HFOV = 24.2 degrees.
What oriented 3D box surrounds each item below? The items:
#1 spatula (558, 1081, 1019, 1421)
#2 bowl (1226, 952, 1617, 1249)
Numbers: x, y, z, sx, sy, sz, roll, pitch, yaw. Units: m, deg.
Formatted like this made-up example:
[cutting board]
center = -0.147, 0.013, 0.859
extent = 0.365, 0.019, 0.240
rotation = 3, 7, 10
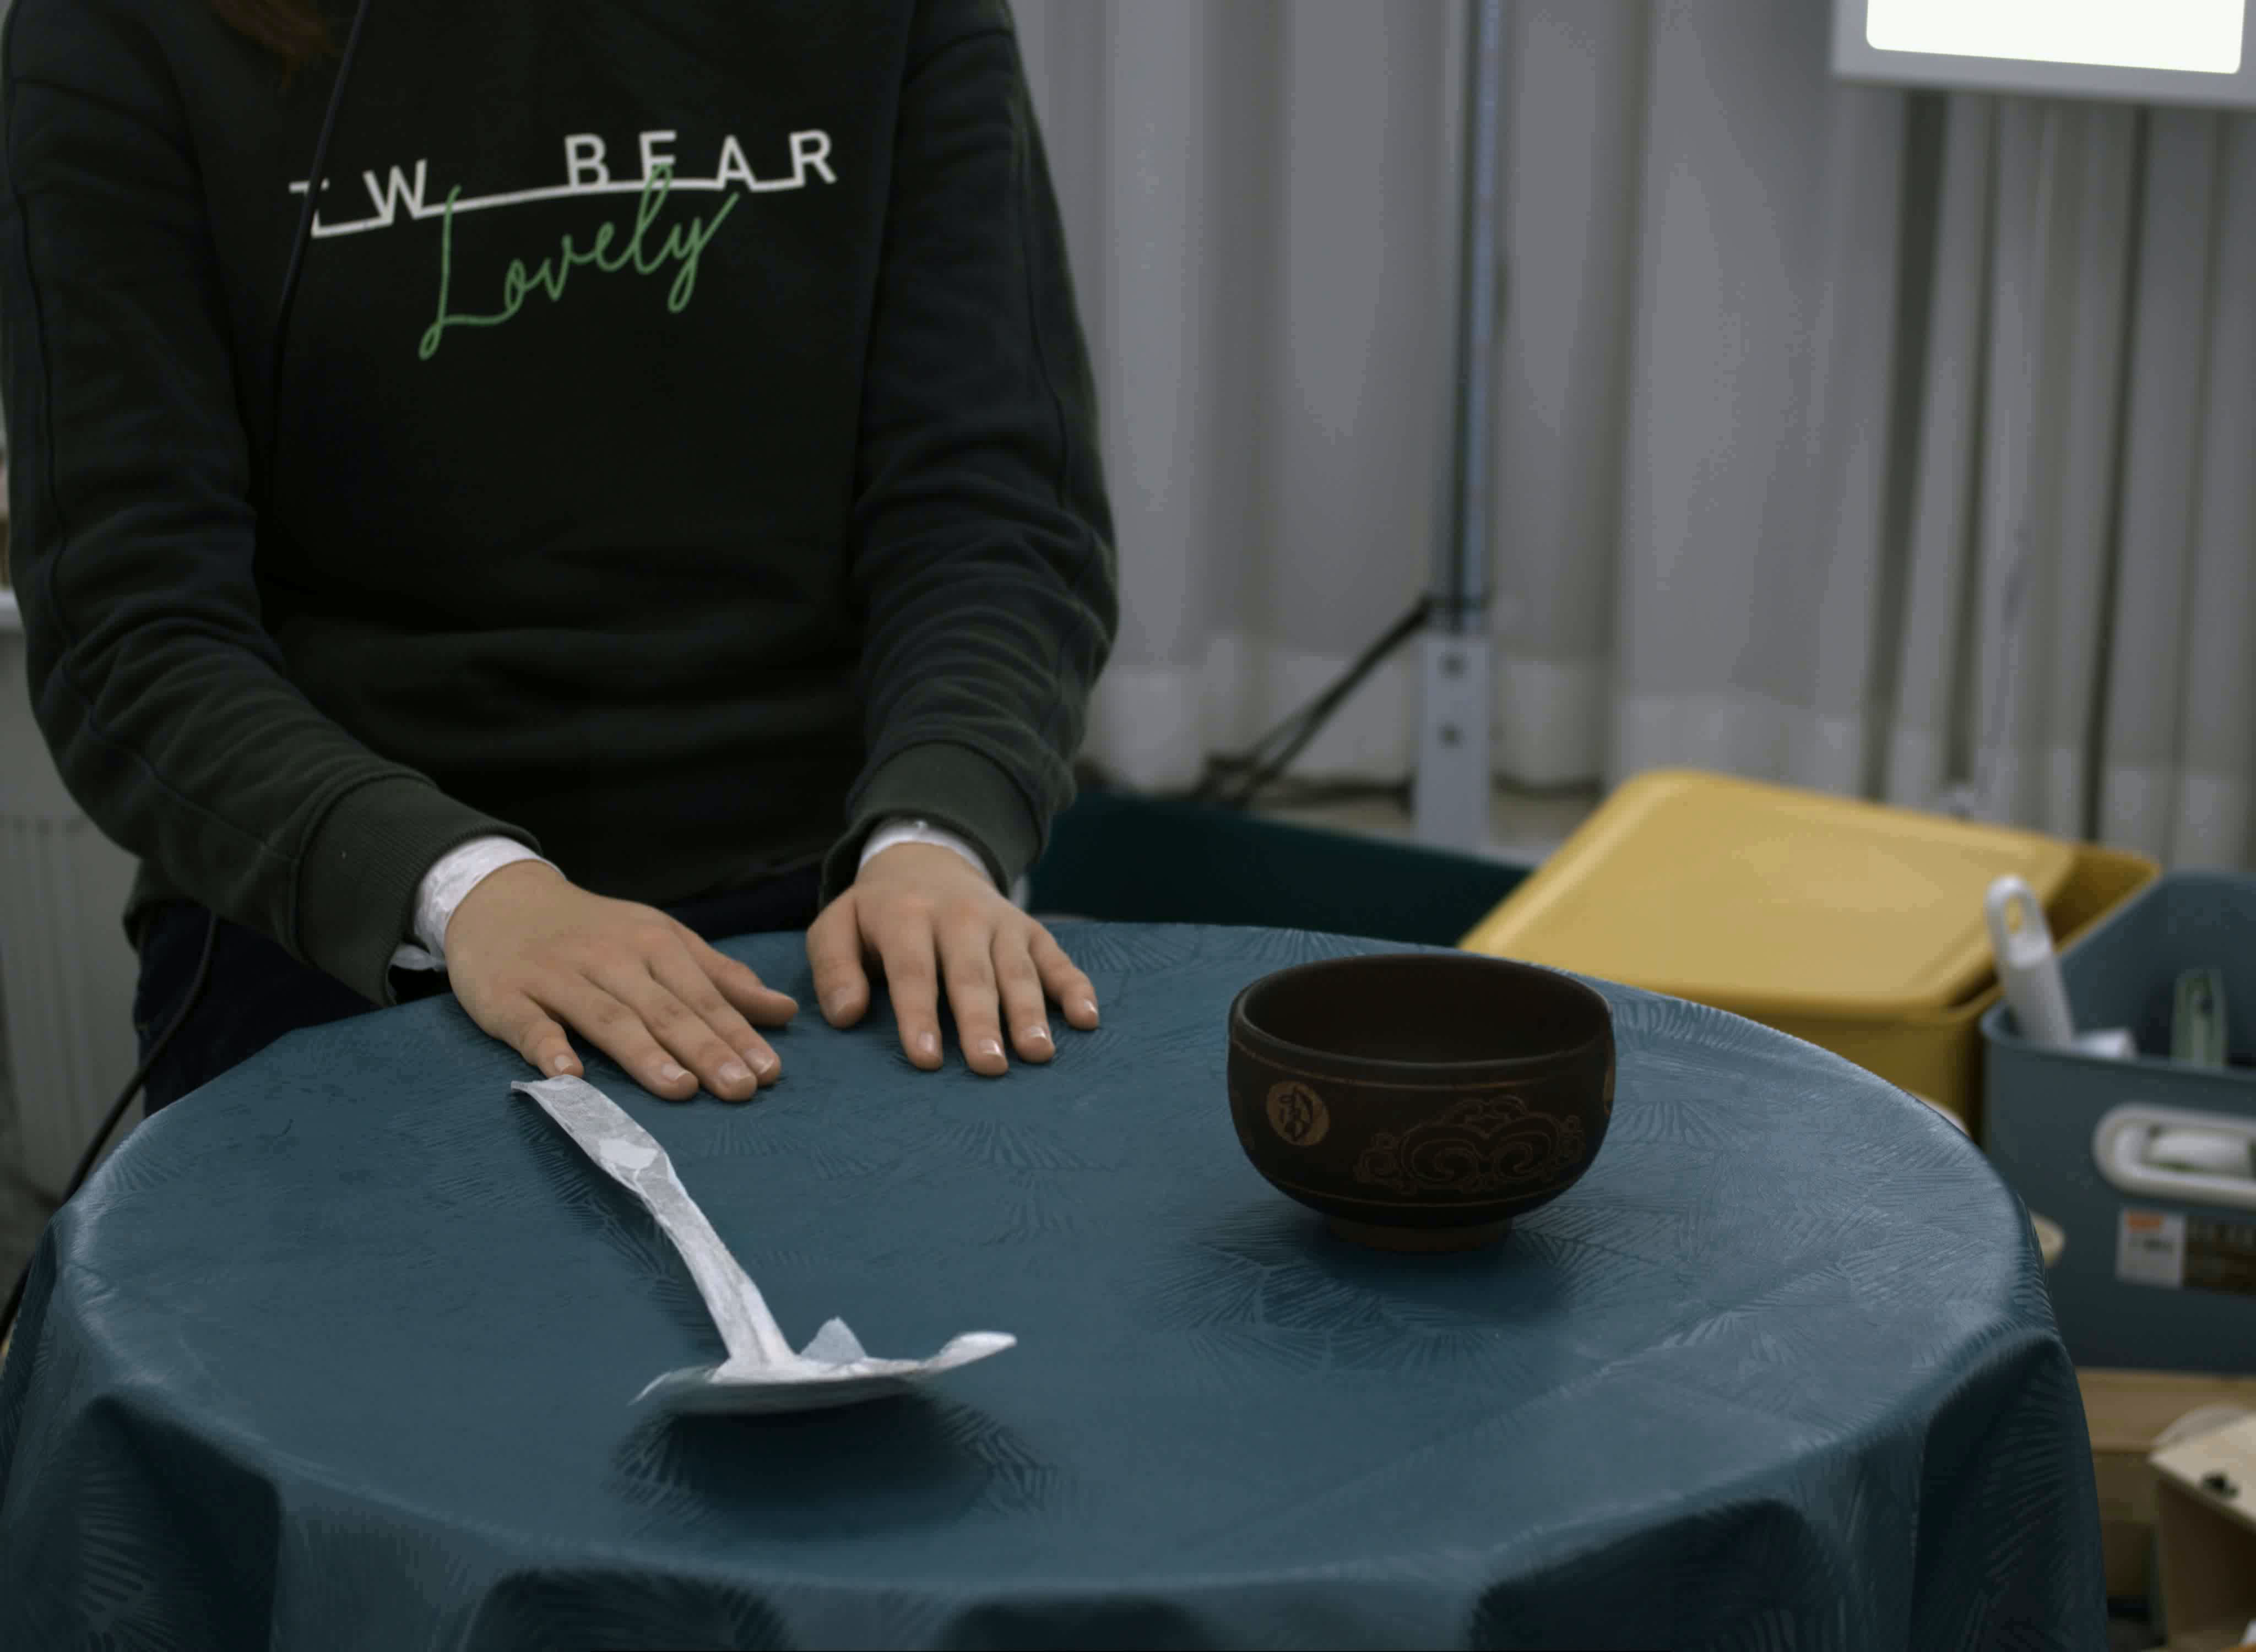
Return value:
[spatula]
center = -0.125, 0.115, 1.542
extent = 0.099, 0.045, 0.361
rotation = -7, 17, -17
[bowl]
center = 0.088, 0.086, 1.591
extent = 0.117, 0.070, 0.117
rotation = 2, 15, 0
